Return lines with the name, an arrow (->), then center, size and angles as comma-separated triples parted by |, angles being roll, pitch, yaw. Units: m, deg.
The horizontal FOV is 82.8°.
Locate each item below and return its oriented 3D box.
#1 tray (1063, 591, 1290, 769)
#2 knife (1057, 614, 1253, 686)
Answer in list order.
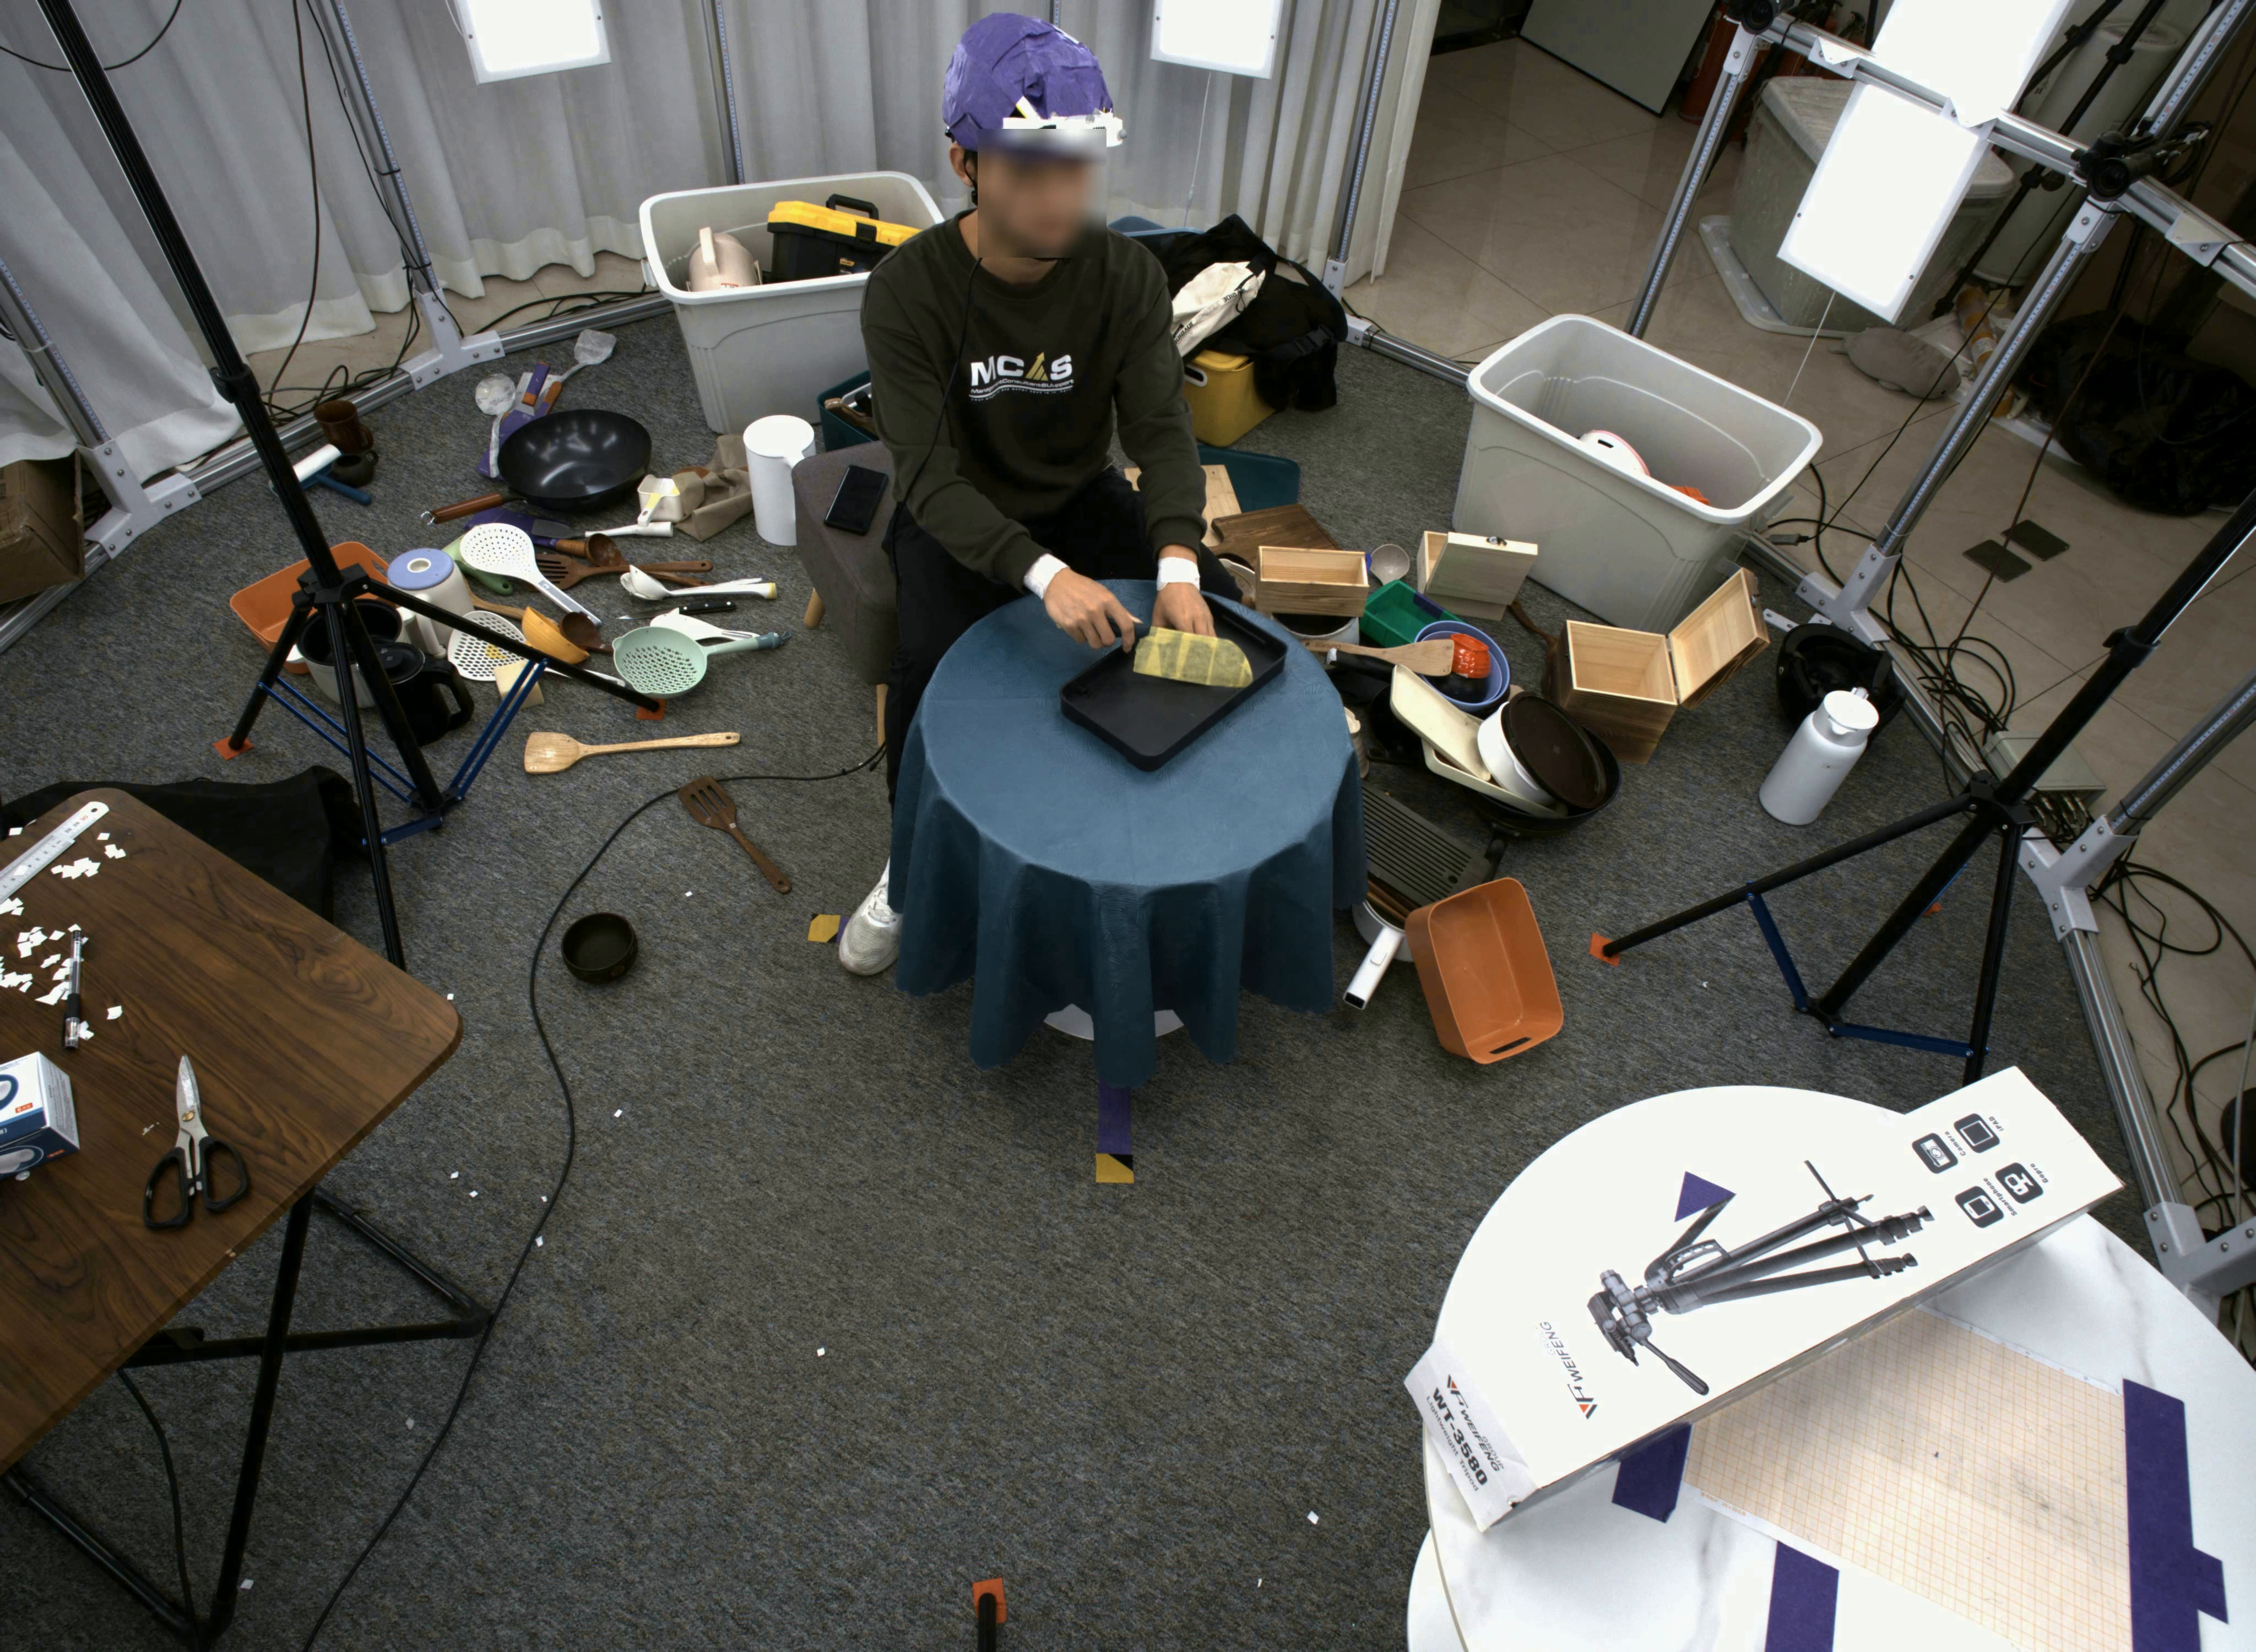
tray -> 0.072, -0.216, 1.835 | 0.187, 0.036, 0.321 | 34, 55, 23
knife -> 0.038, -0.251, 1.828 | 0.289, 0.079, 0.028 | 14, 25, 2
